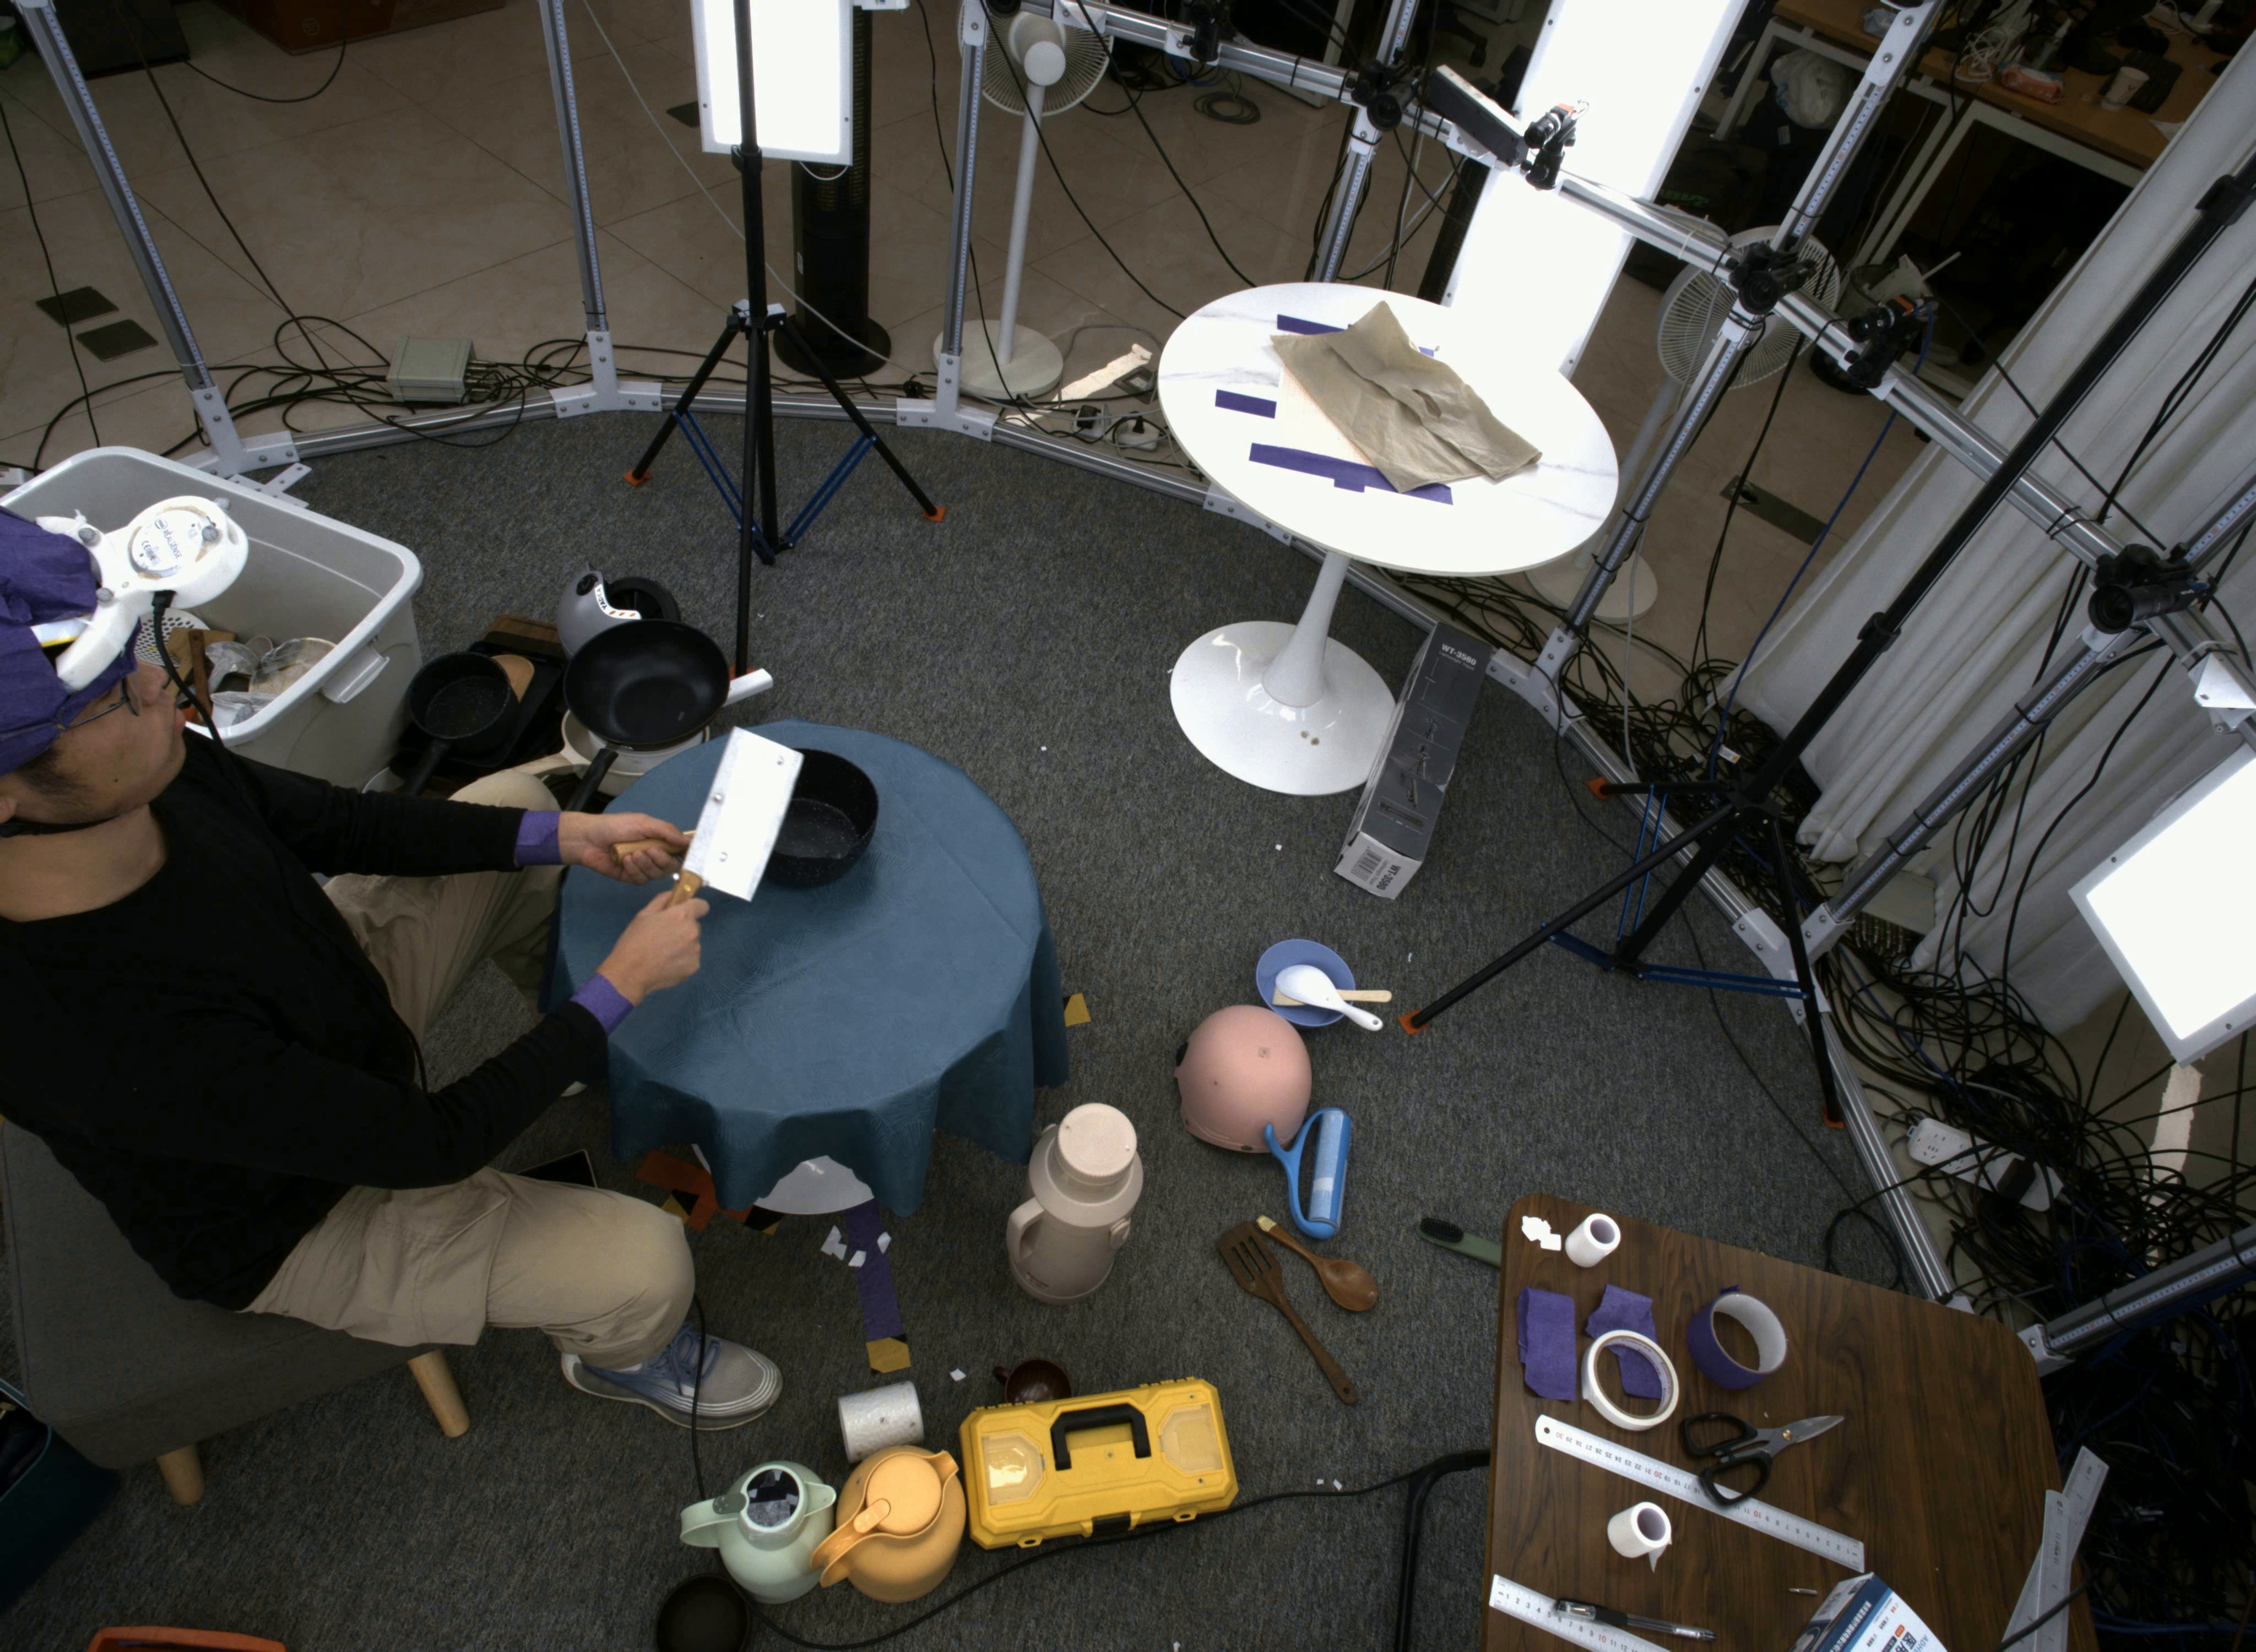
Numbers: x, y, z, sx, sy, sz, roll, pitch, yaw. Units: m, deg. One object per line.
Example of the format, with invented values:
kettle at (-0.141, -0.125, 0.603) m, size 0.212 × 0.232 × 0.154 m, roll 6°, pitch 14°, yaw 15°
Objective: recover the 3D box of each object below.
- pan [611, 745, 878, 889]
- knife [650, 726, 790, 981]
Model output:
pan at (-0.477, 0.011, 1.614) m, size 0.345 × 0.110 × 0.202 m, roll -22°, pitch 61°, yaw -34°
knife at (-0.470, 0.037, 1.503) m, size 0.095 × 0.020 × 0.306 m, roll 23°, pitch 76°, yaw -30°
